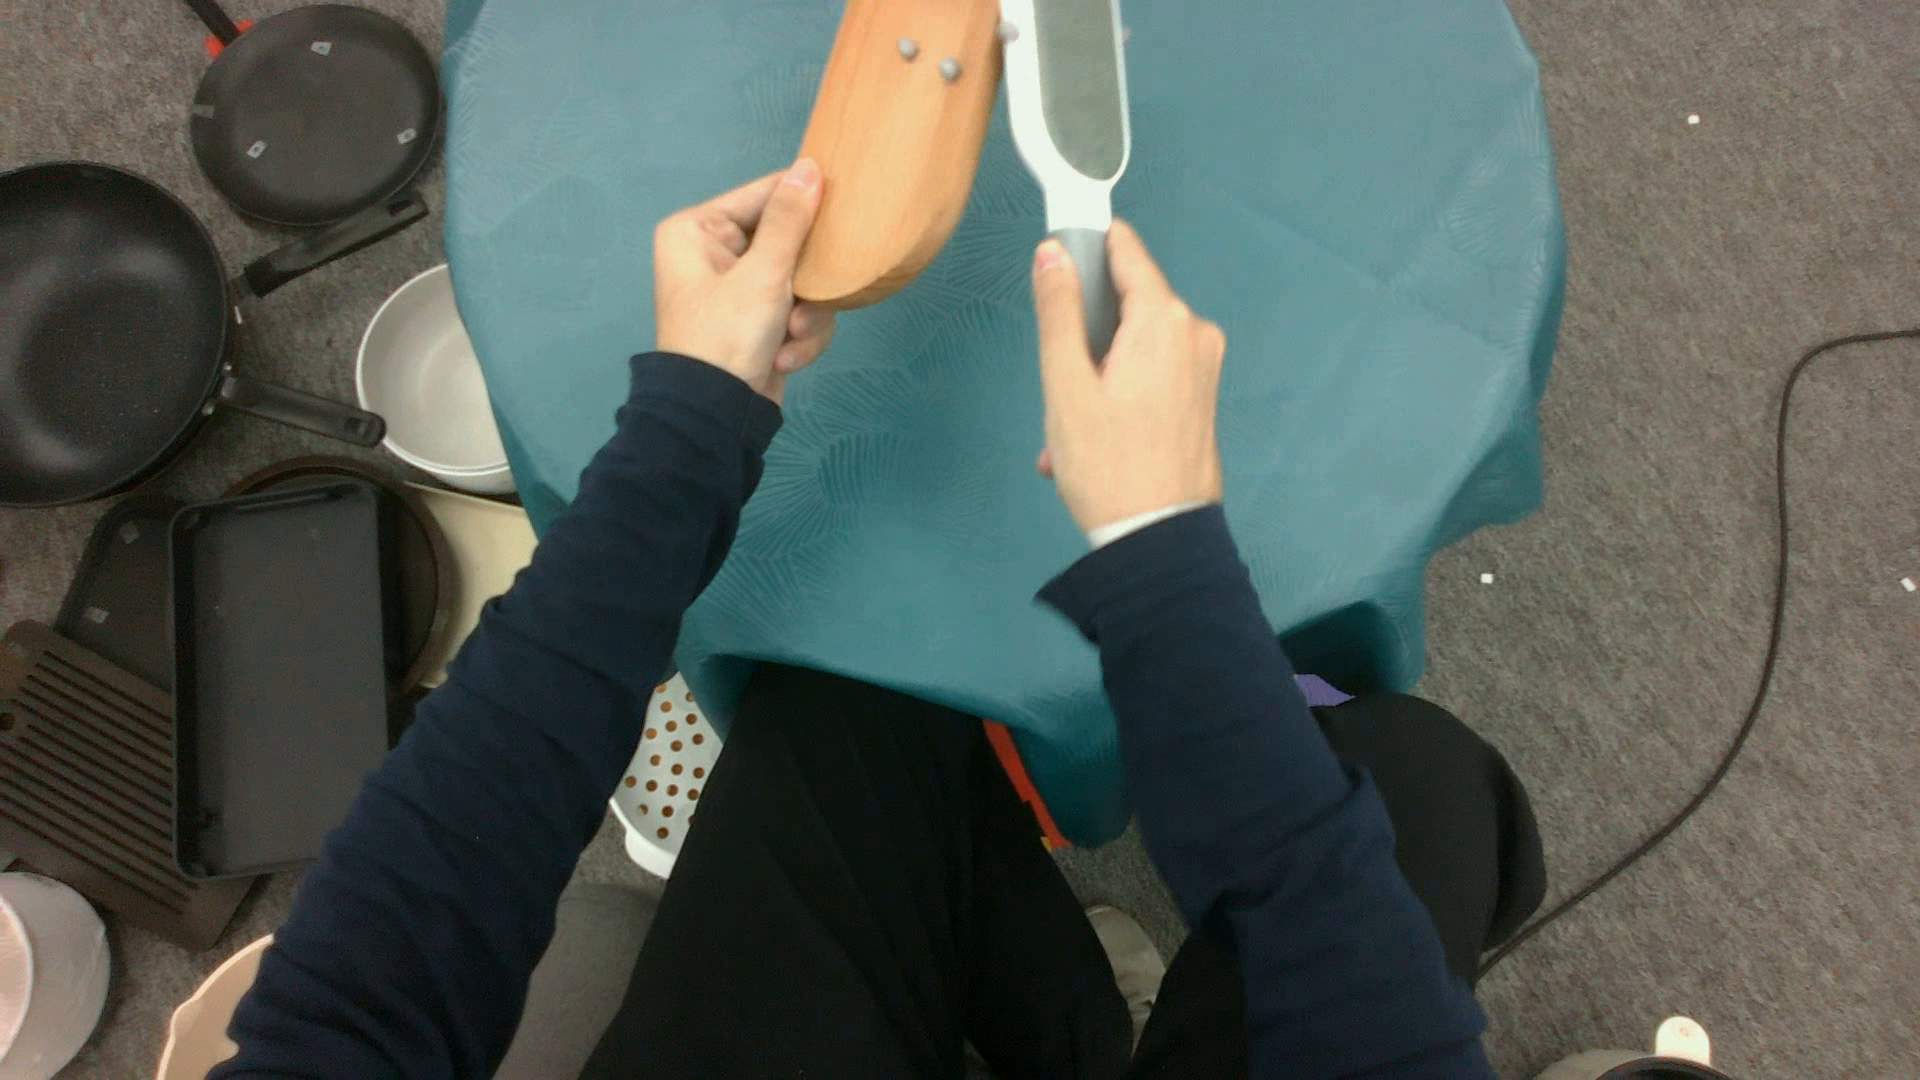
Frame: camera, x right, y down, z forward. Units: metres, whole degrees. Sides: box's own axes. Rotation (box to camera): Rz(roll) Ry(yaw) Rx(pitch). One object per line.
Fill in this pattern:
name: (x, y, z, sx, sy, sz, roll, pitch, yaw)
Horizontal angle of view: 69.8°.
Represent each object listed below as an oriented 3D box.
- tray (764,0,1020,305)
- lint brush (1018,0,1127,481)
tray: (-0.022, -0.201, 0.588, 0.101, 0.020, 0.232, -1, 67, 40)
lint brush: (0.046, -0.177, 0.560, 0.021, 0.060, 0.309, -8, 80, 40)
